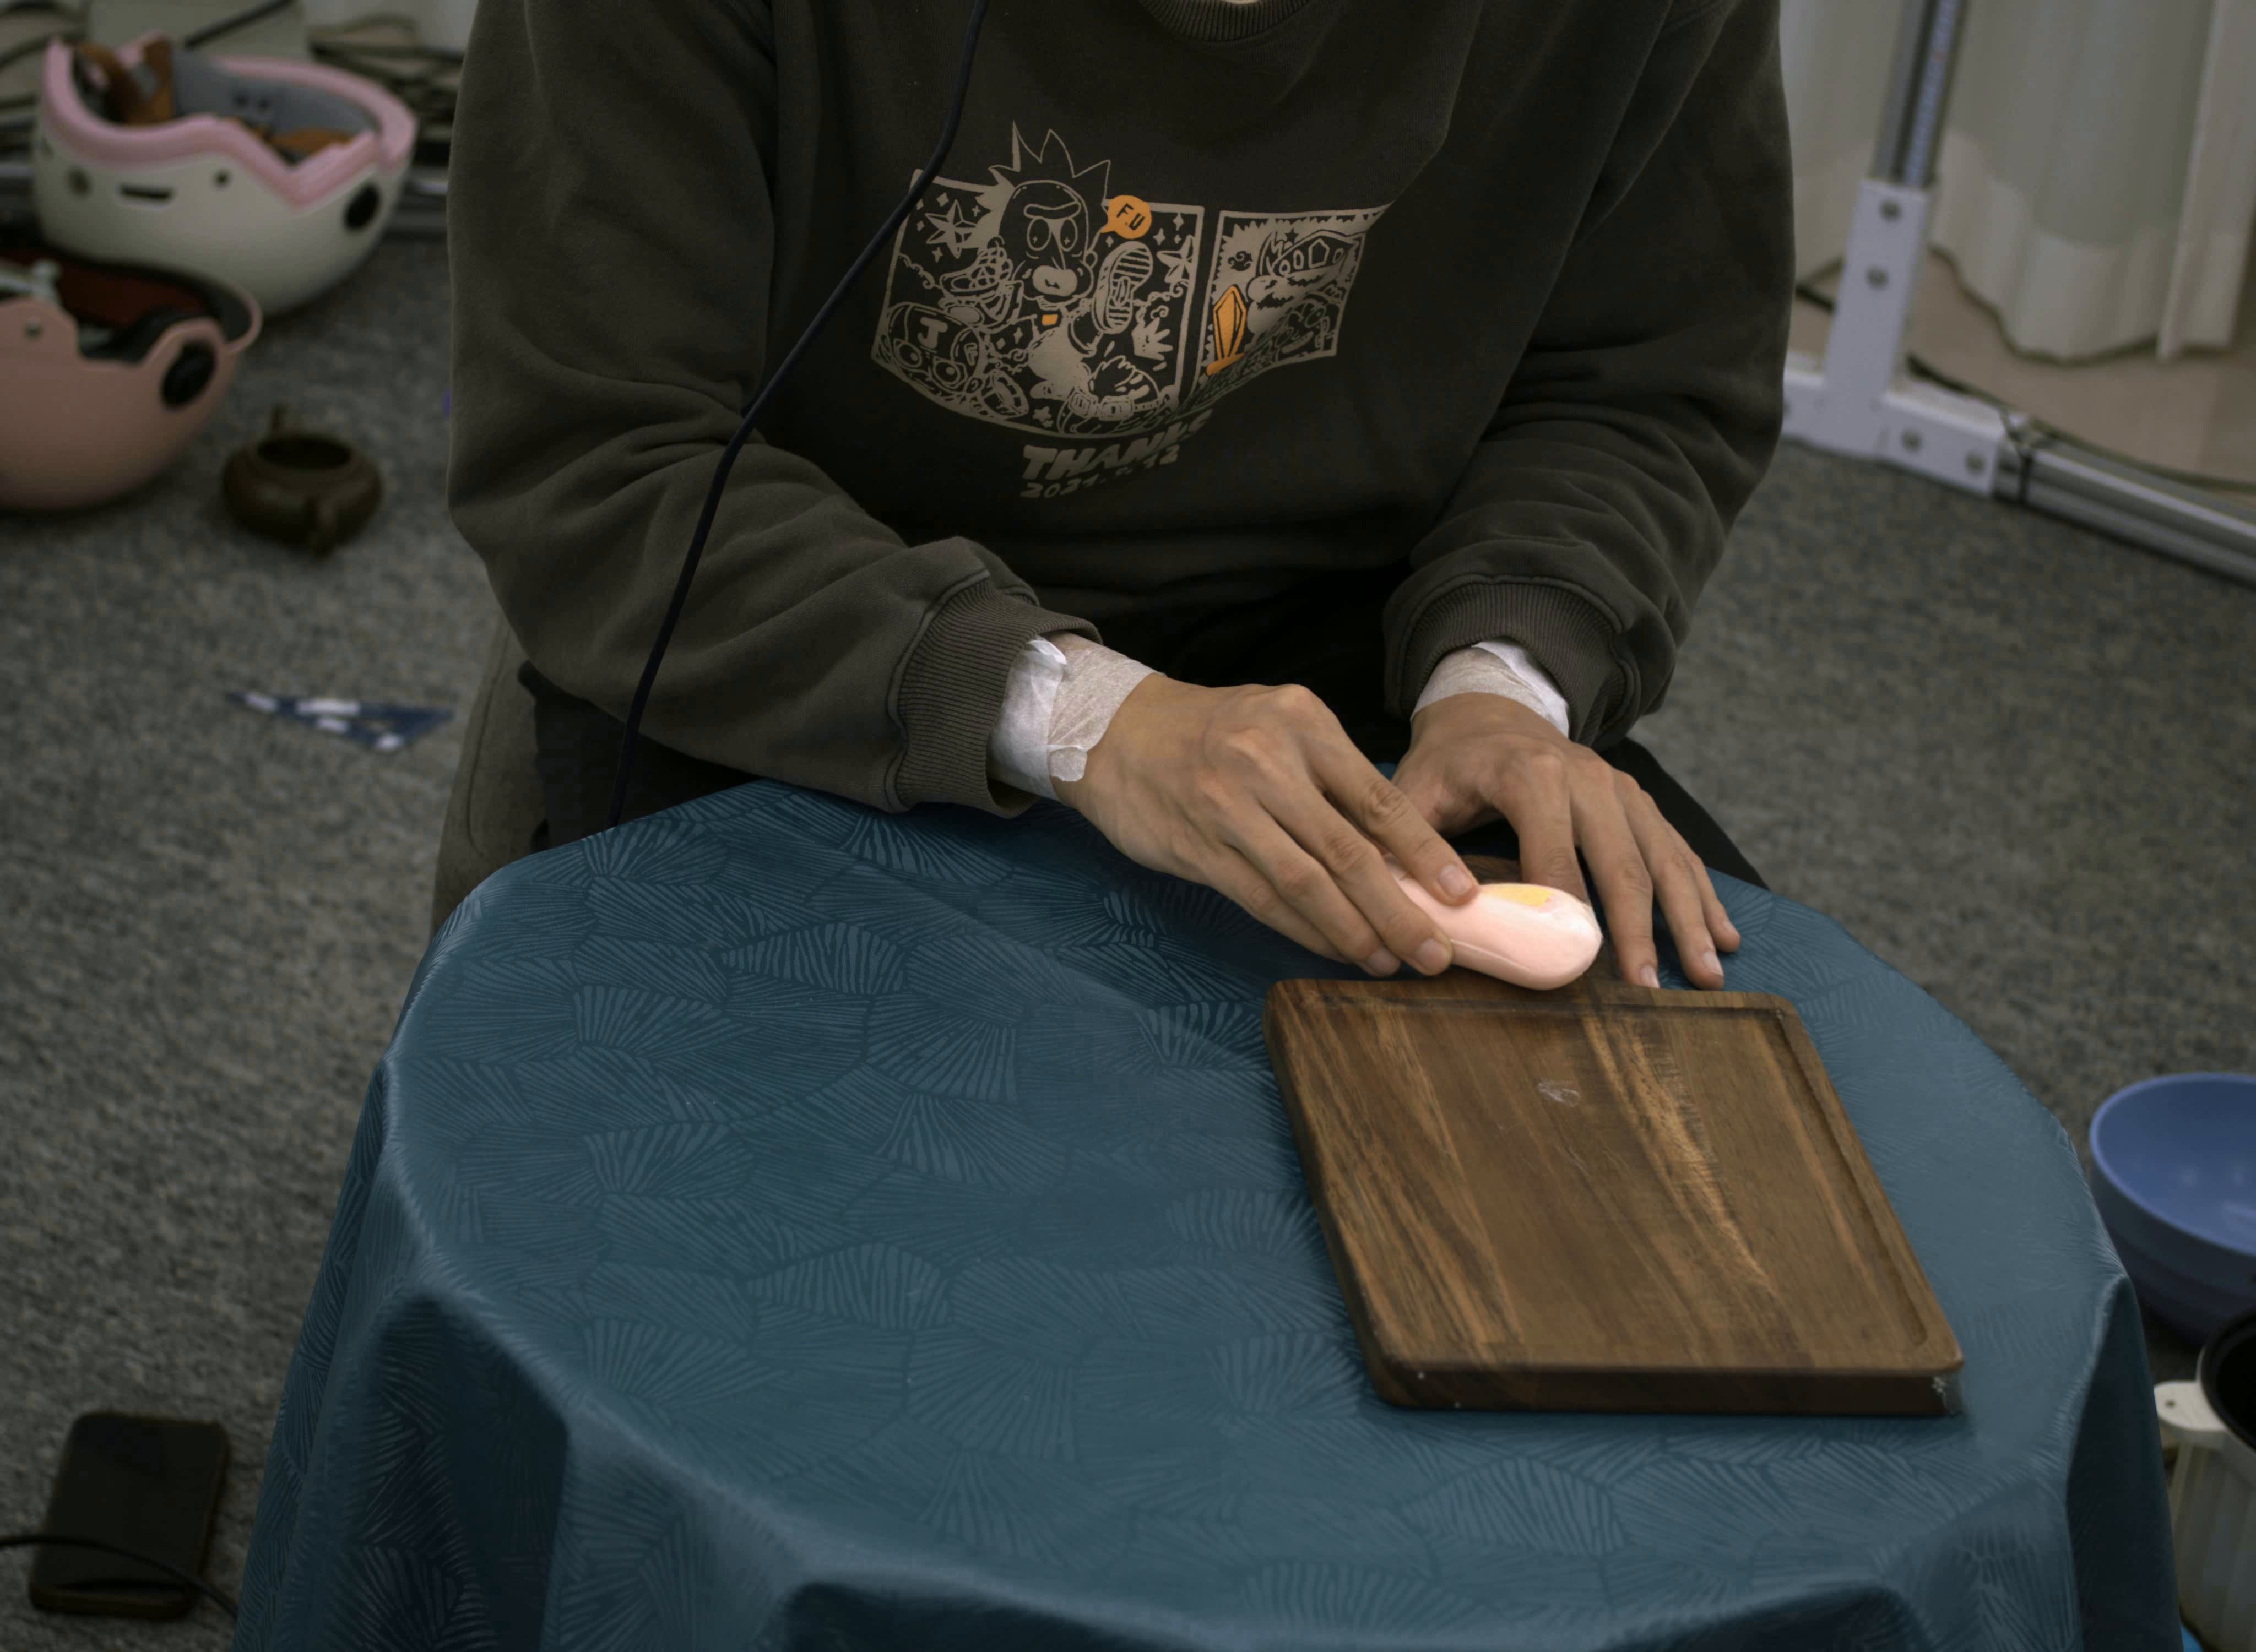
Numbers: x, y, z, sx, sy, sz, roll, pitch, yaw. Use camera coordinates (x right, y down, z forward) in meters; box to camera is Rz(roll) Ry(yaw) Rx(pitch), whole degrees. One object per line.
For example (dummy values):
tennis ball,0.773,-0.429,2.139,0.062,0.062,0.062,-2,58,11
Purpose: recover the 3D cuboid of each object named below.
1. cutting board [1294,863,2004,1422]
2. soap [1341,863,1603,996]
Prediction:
cutting board,0.166,0.103,1.860,0.200,0.023,0.355,2,27,-8
soap,0.125,0.037,1.932,0.094,0.030,0.050,13,26,18
